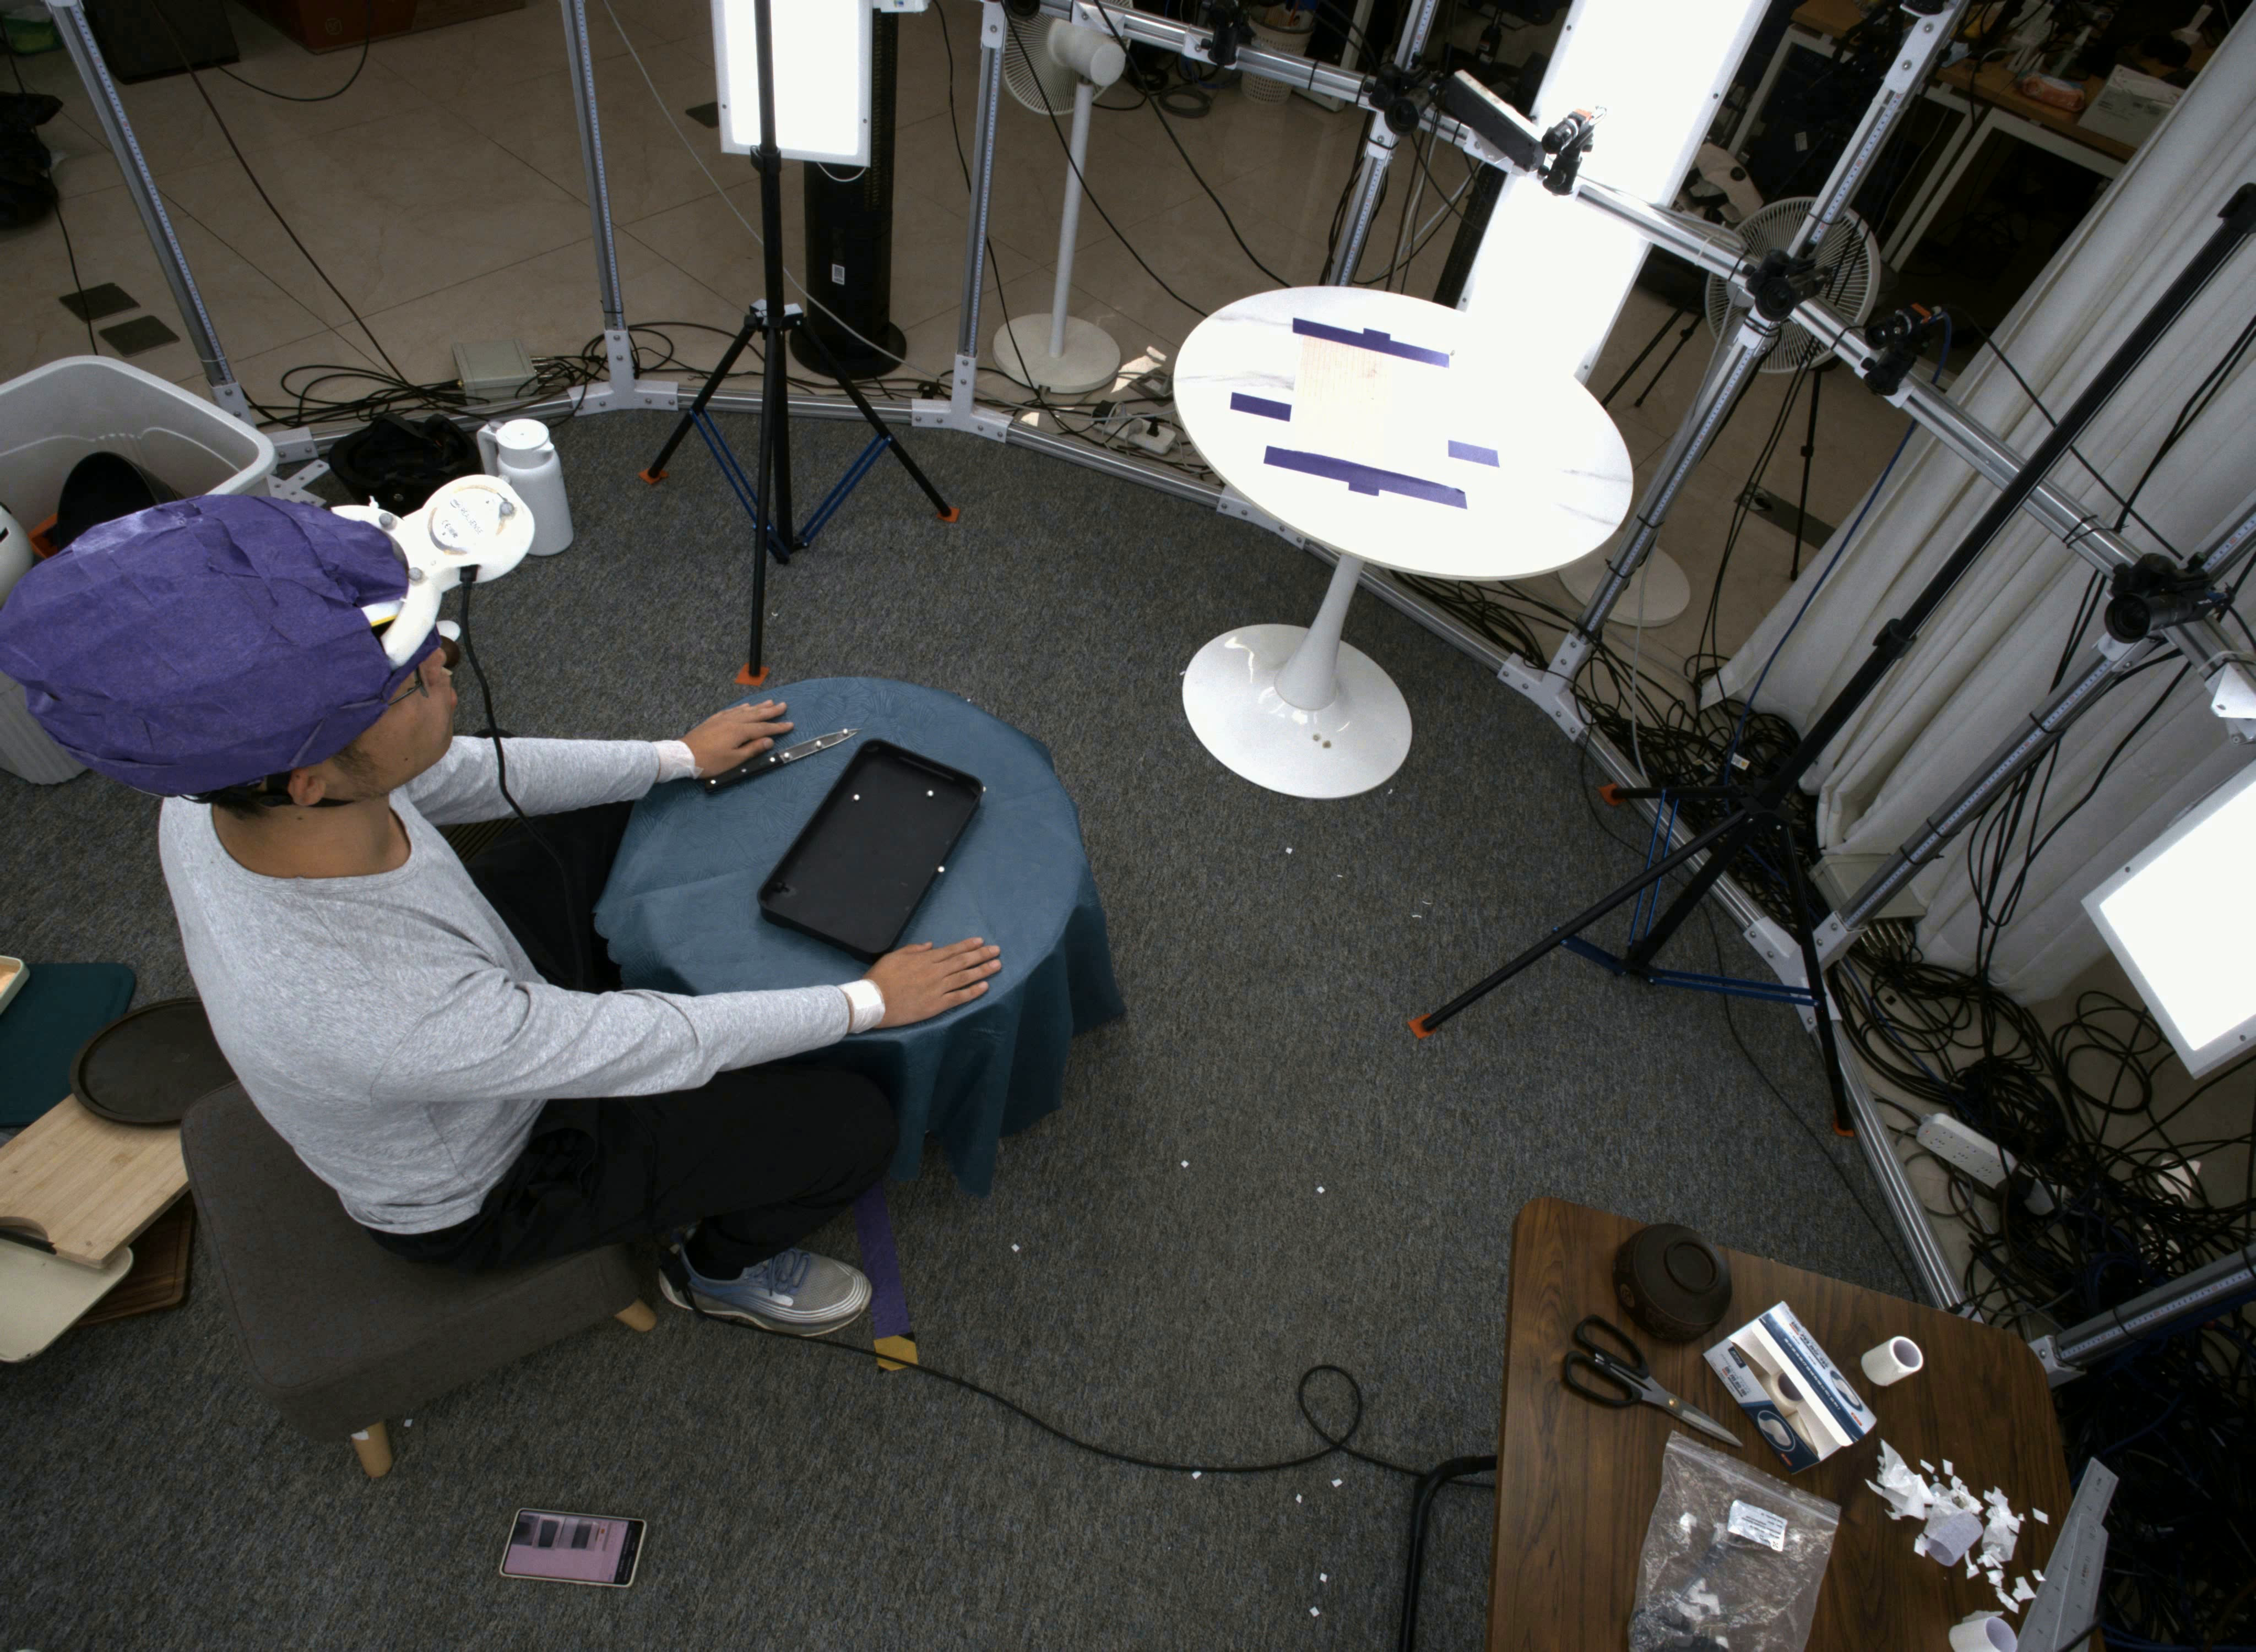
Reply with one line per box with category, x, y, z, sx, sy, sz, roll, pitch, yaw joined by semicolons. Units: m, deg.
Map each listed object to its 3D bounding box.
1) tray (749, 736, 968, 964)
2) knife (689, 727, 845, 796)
tray;-0.349;0.024;1.713;0.182;0.038;0.315;21;52;2
knife;-0.491;-0.092;1.779;0.239;0.016;0.024;-27;66;-32
